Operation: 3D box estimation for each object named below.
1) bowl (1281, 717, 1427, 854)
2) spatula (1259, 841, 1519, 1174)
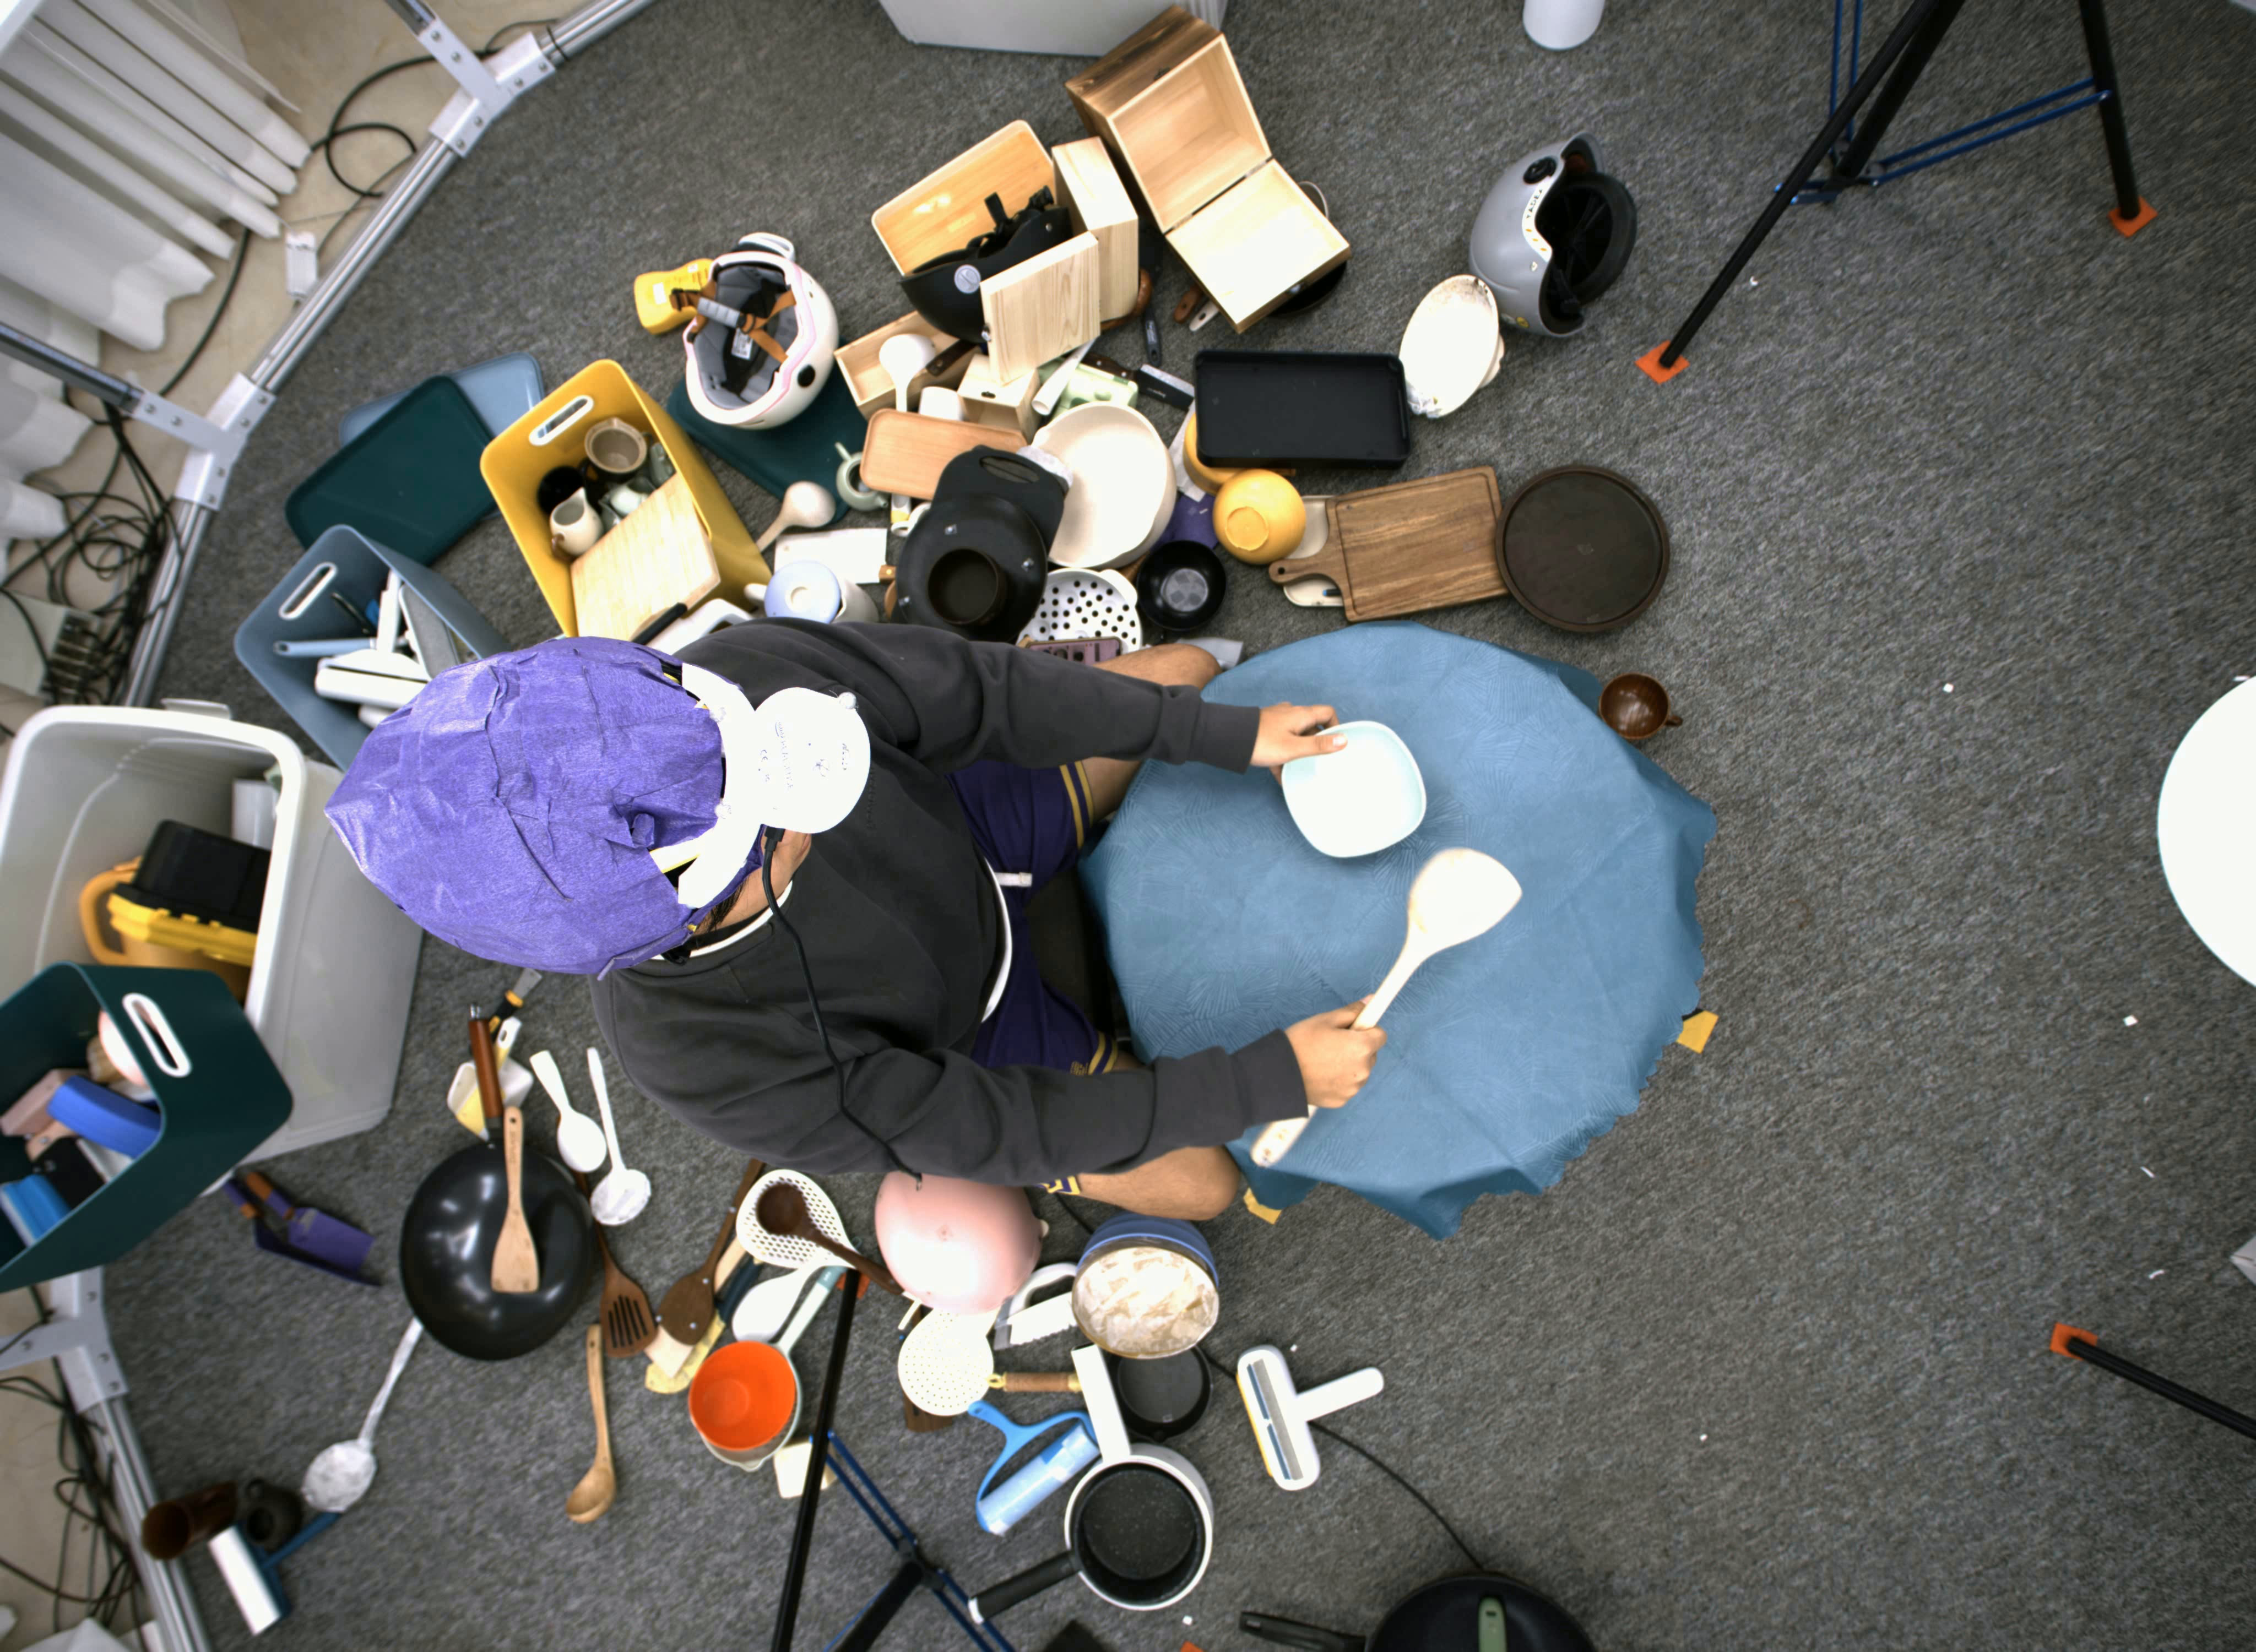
[{"bbox_3d":[0.235,-0.050,1.425,0.152,0.057,0.154,5,114,12],"label":"bowl"},{"bbox_3d":[0.236,0.185,1.330,0.096,0.018,0.396,28,107,-6],"label":"spatula"}]
